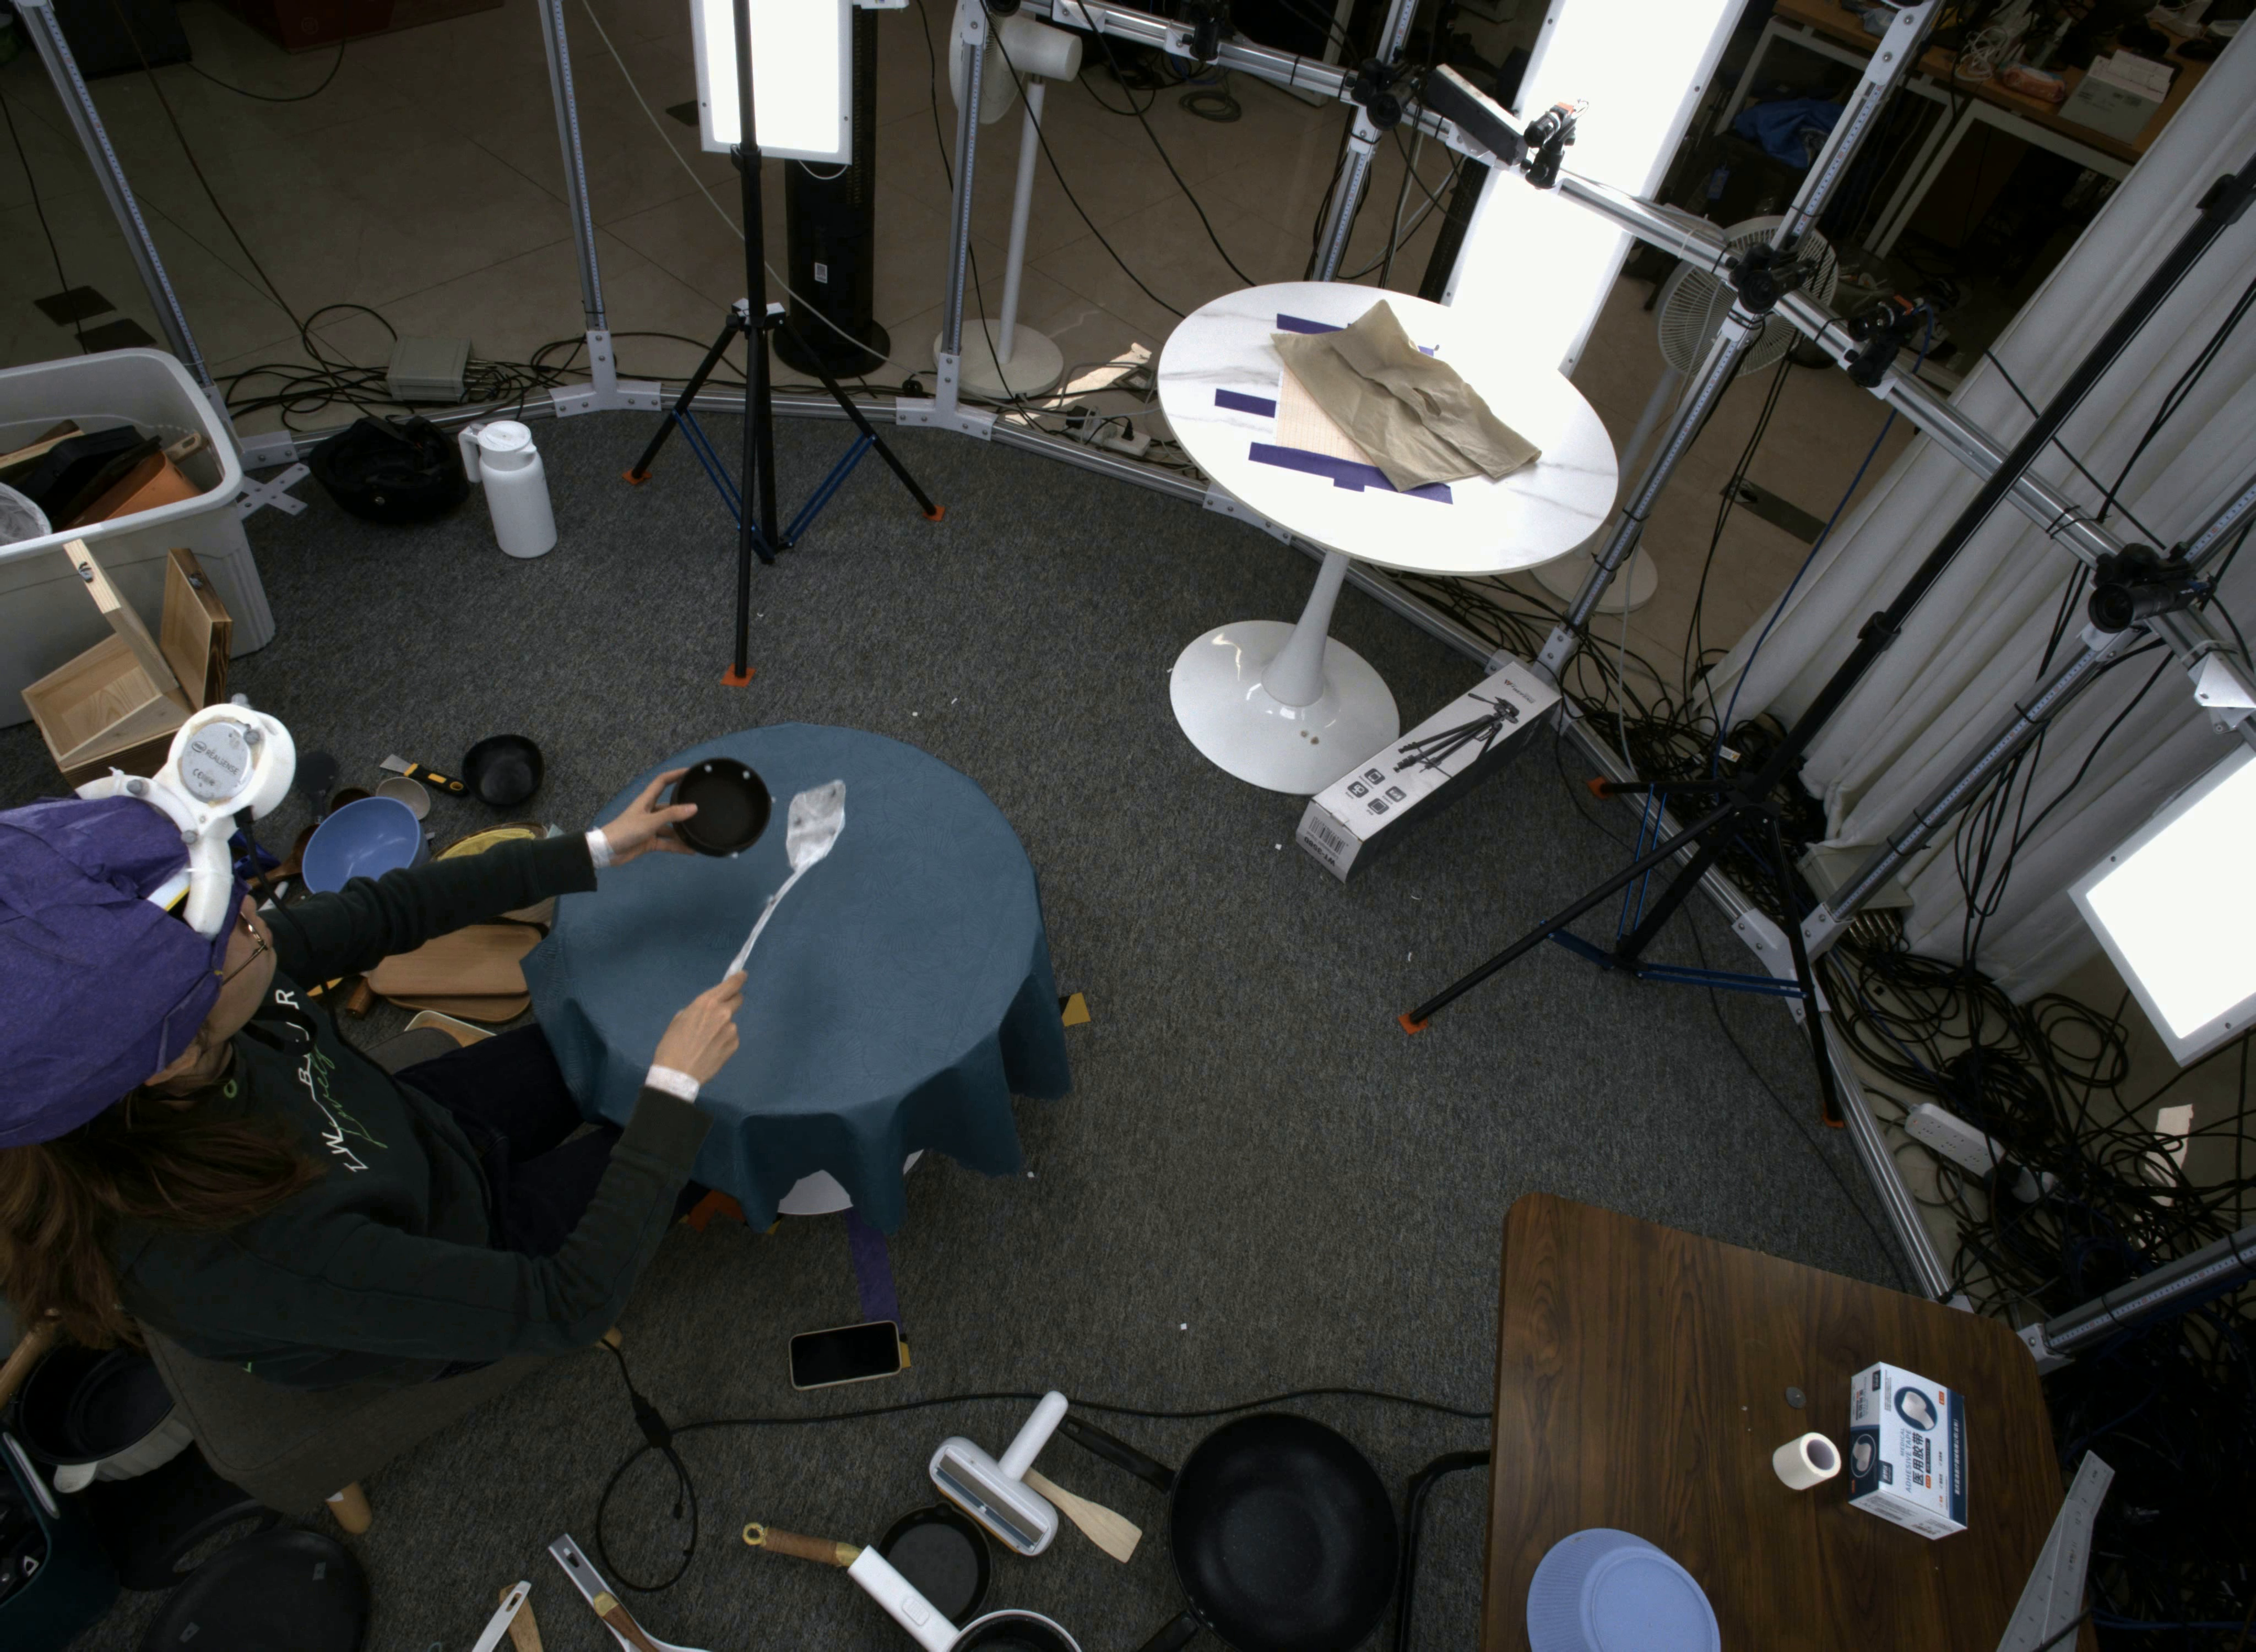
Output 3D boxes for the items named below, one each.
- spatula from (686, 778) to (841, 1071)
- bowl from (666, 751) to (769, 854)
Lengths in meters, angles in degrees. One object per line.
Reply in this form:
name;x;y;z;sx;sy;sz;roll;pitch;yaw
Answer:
spatula;-0.395;0.093;1.382;0.046;0.096;0.361;52;42;-32
bowl;-0.494;-0.025;1.543;0.120;0.069;0.117;10;71;-27
